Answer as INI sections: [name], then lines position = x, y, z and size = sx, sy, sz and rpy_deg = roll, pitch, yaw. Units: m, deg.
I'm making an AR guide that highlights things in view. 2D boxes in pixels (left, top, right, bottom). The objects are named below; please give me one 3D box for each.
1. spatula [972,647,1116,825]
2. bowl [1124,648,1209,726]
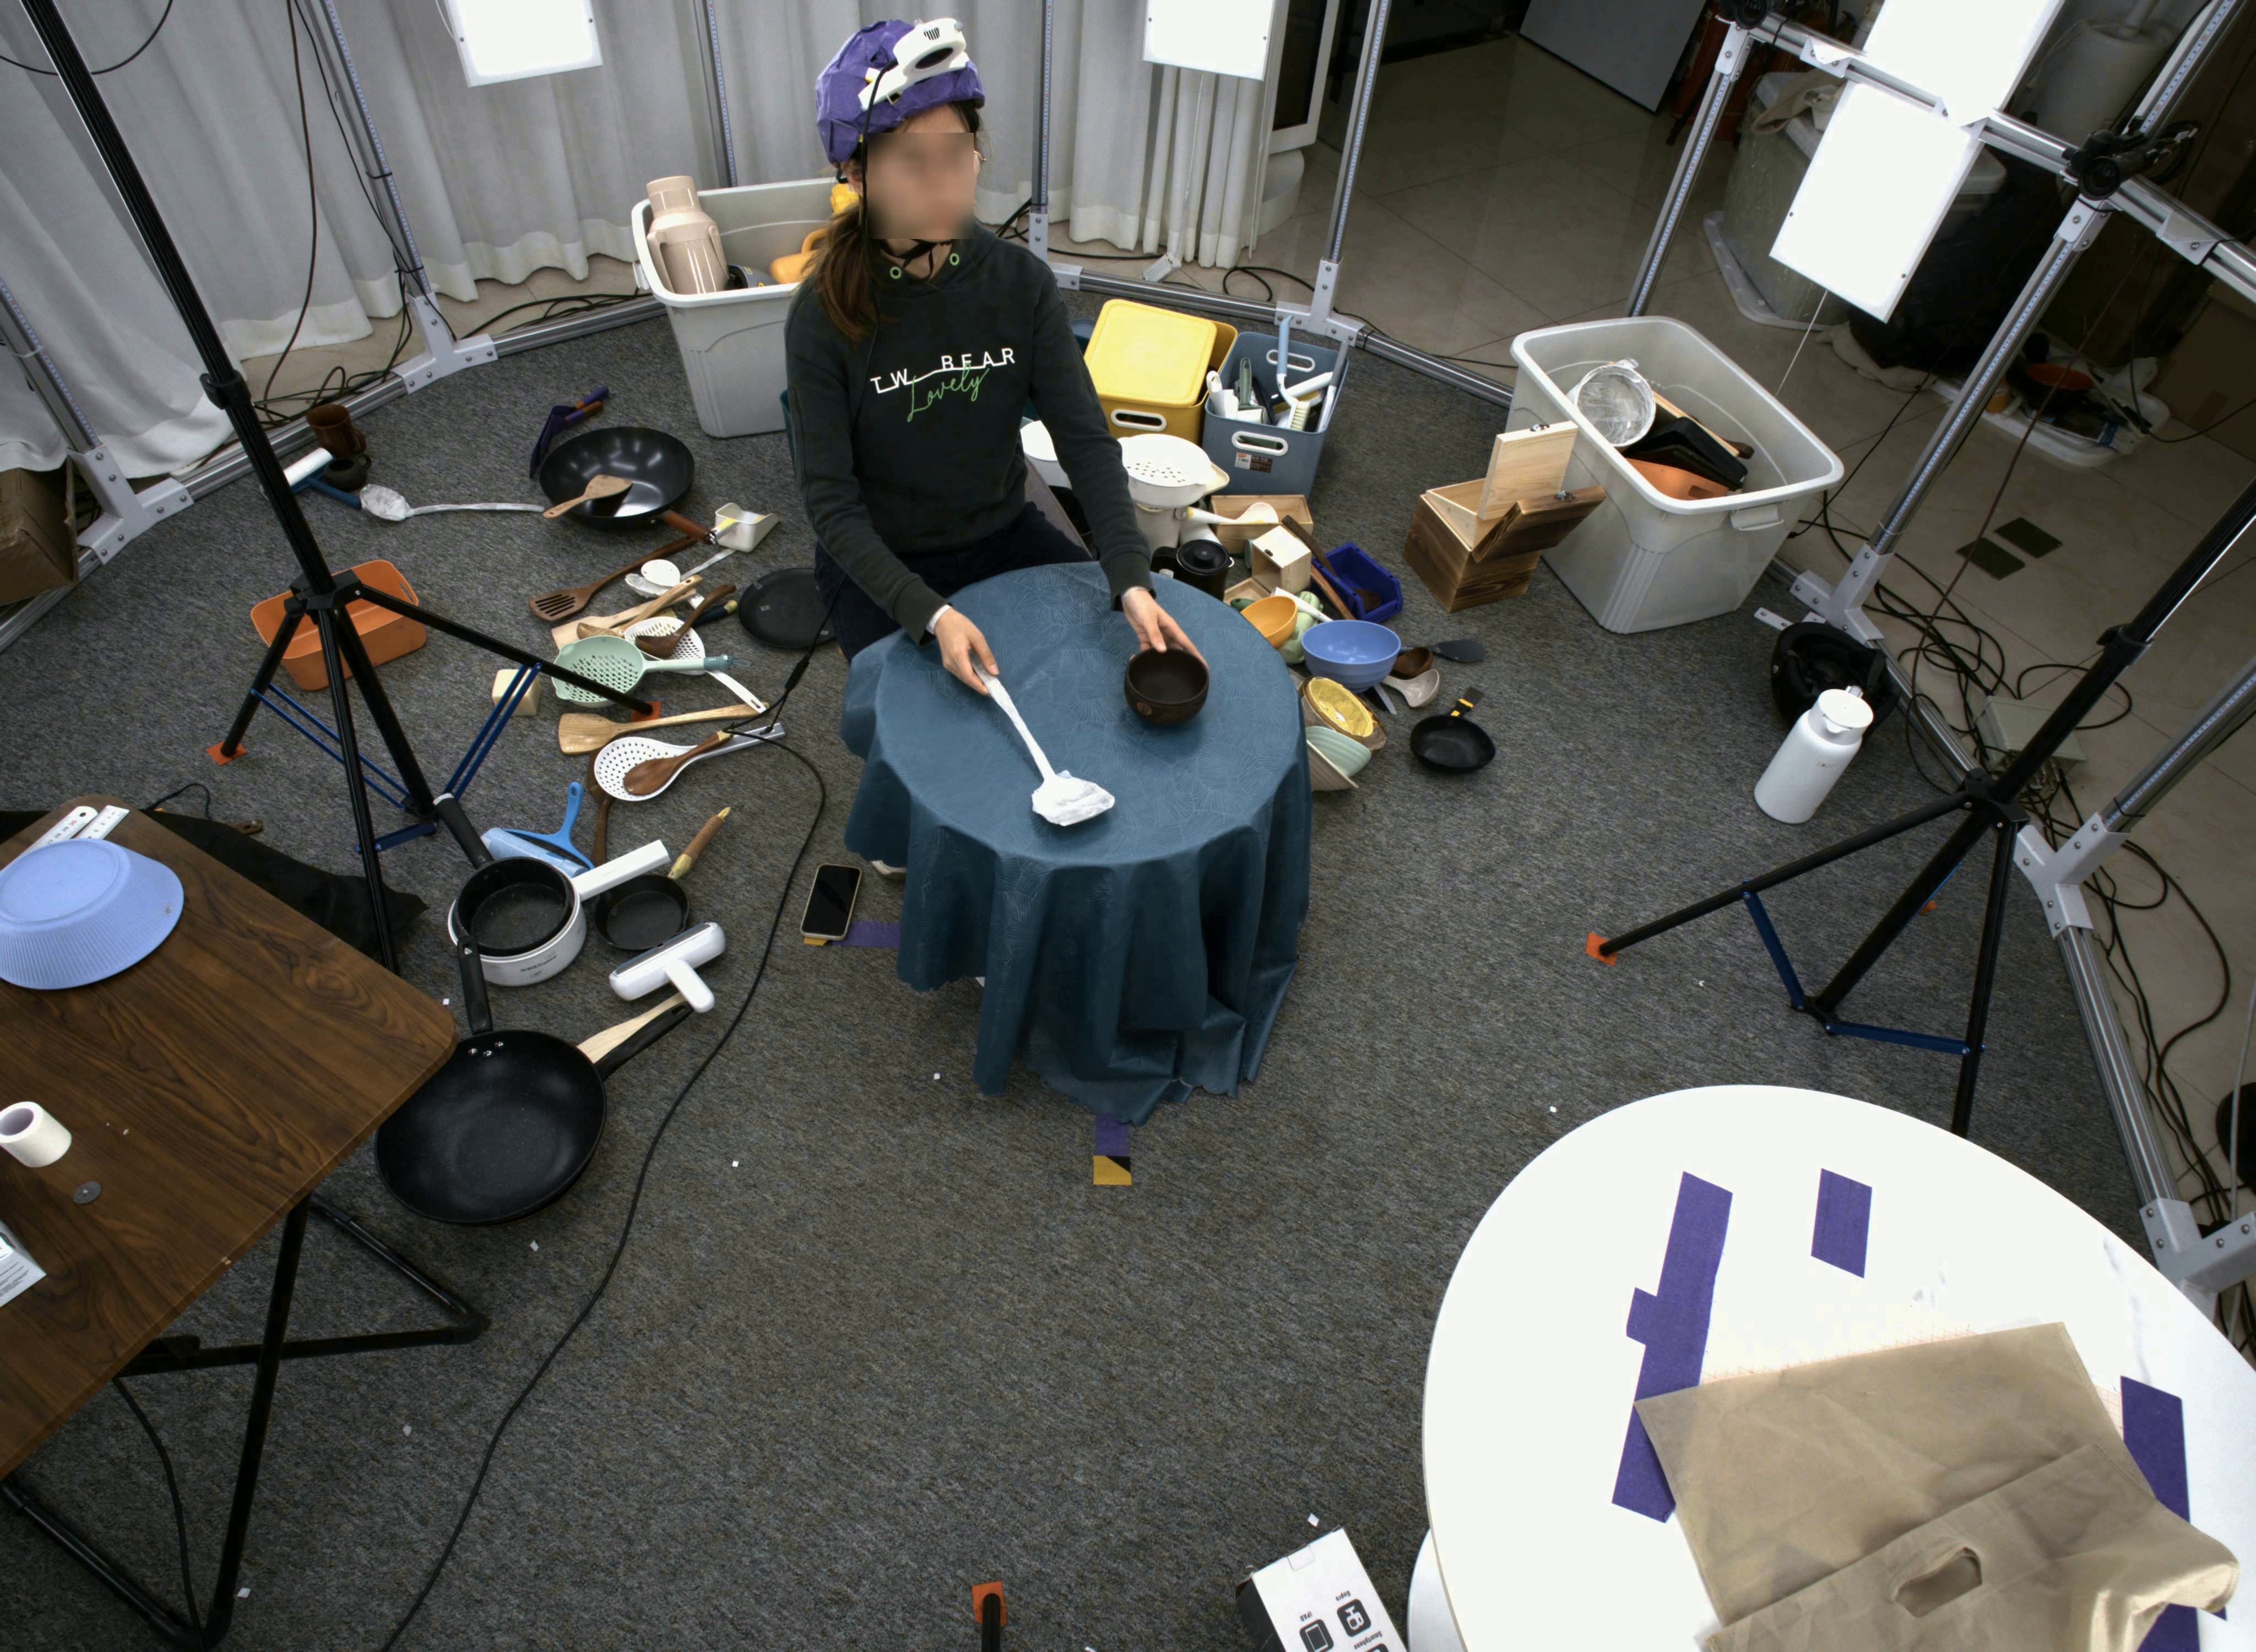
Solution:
[spatula]
position = -0.137, -0.133, 1.754
size = 0.099, 0.044, 0.372
rpy_deg = -20, 58, -20
[bowl]
position = 0.053, -0.187, 1.805
size = 0.118, 0.068, 0.121
rpy_deg = 2, 47, -3
